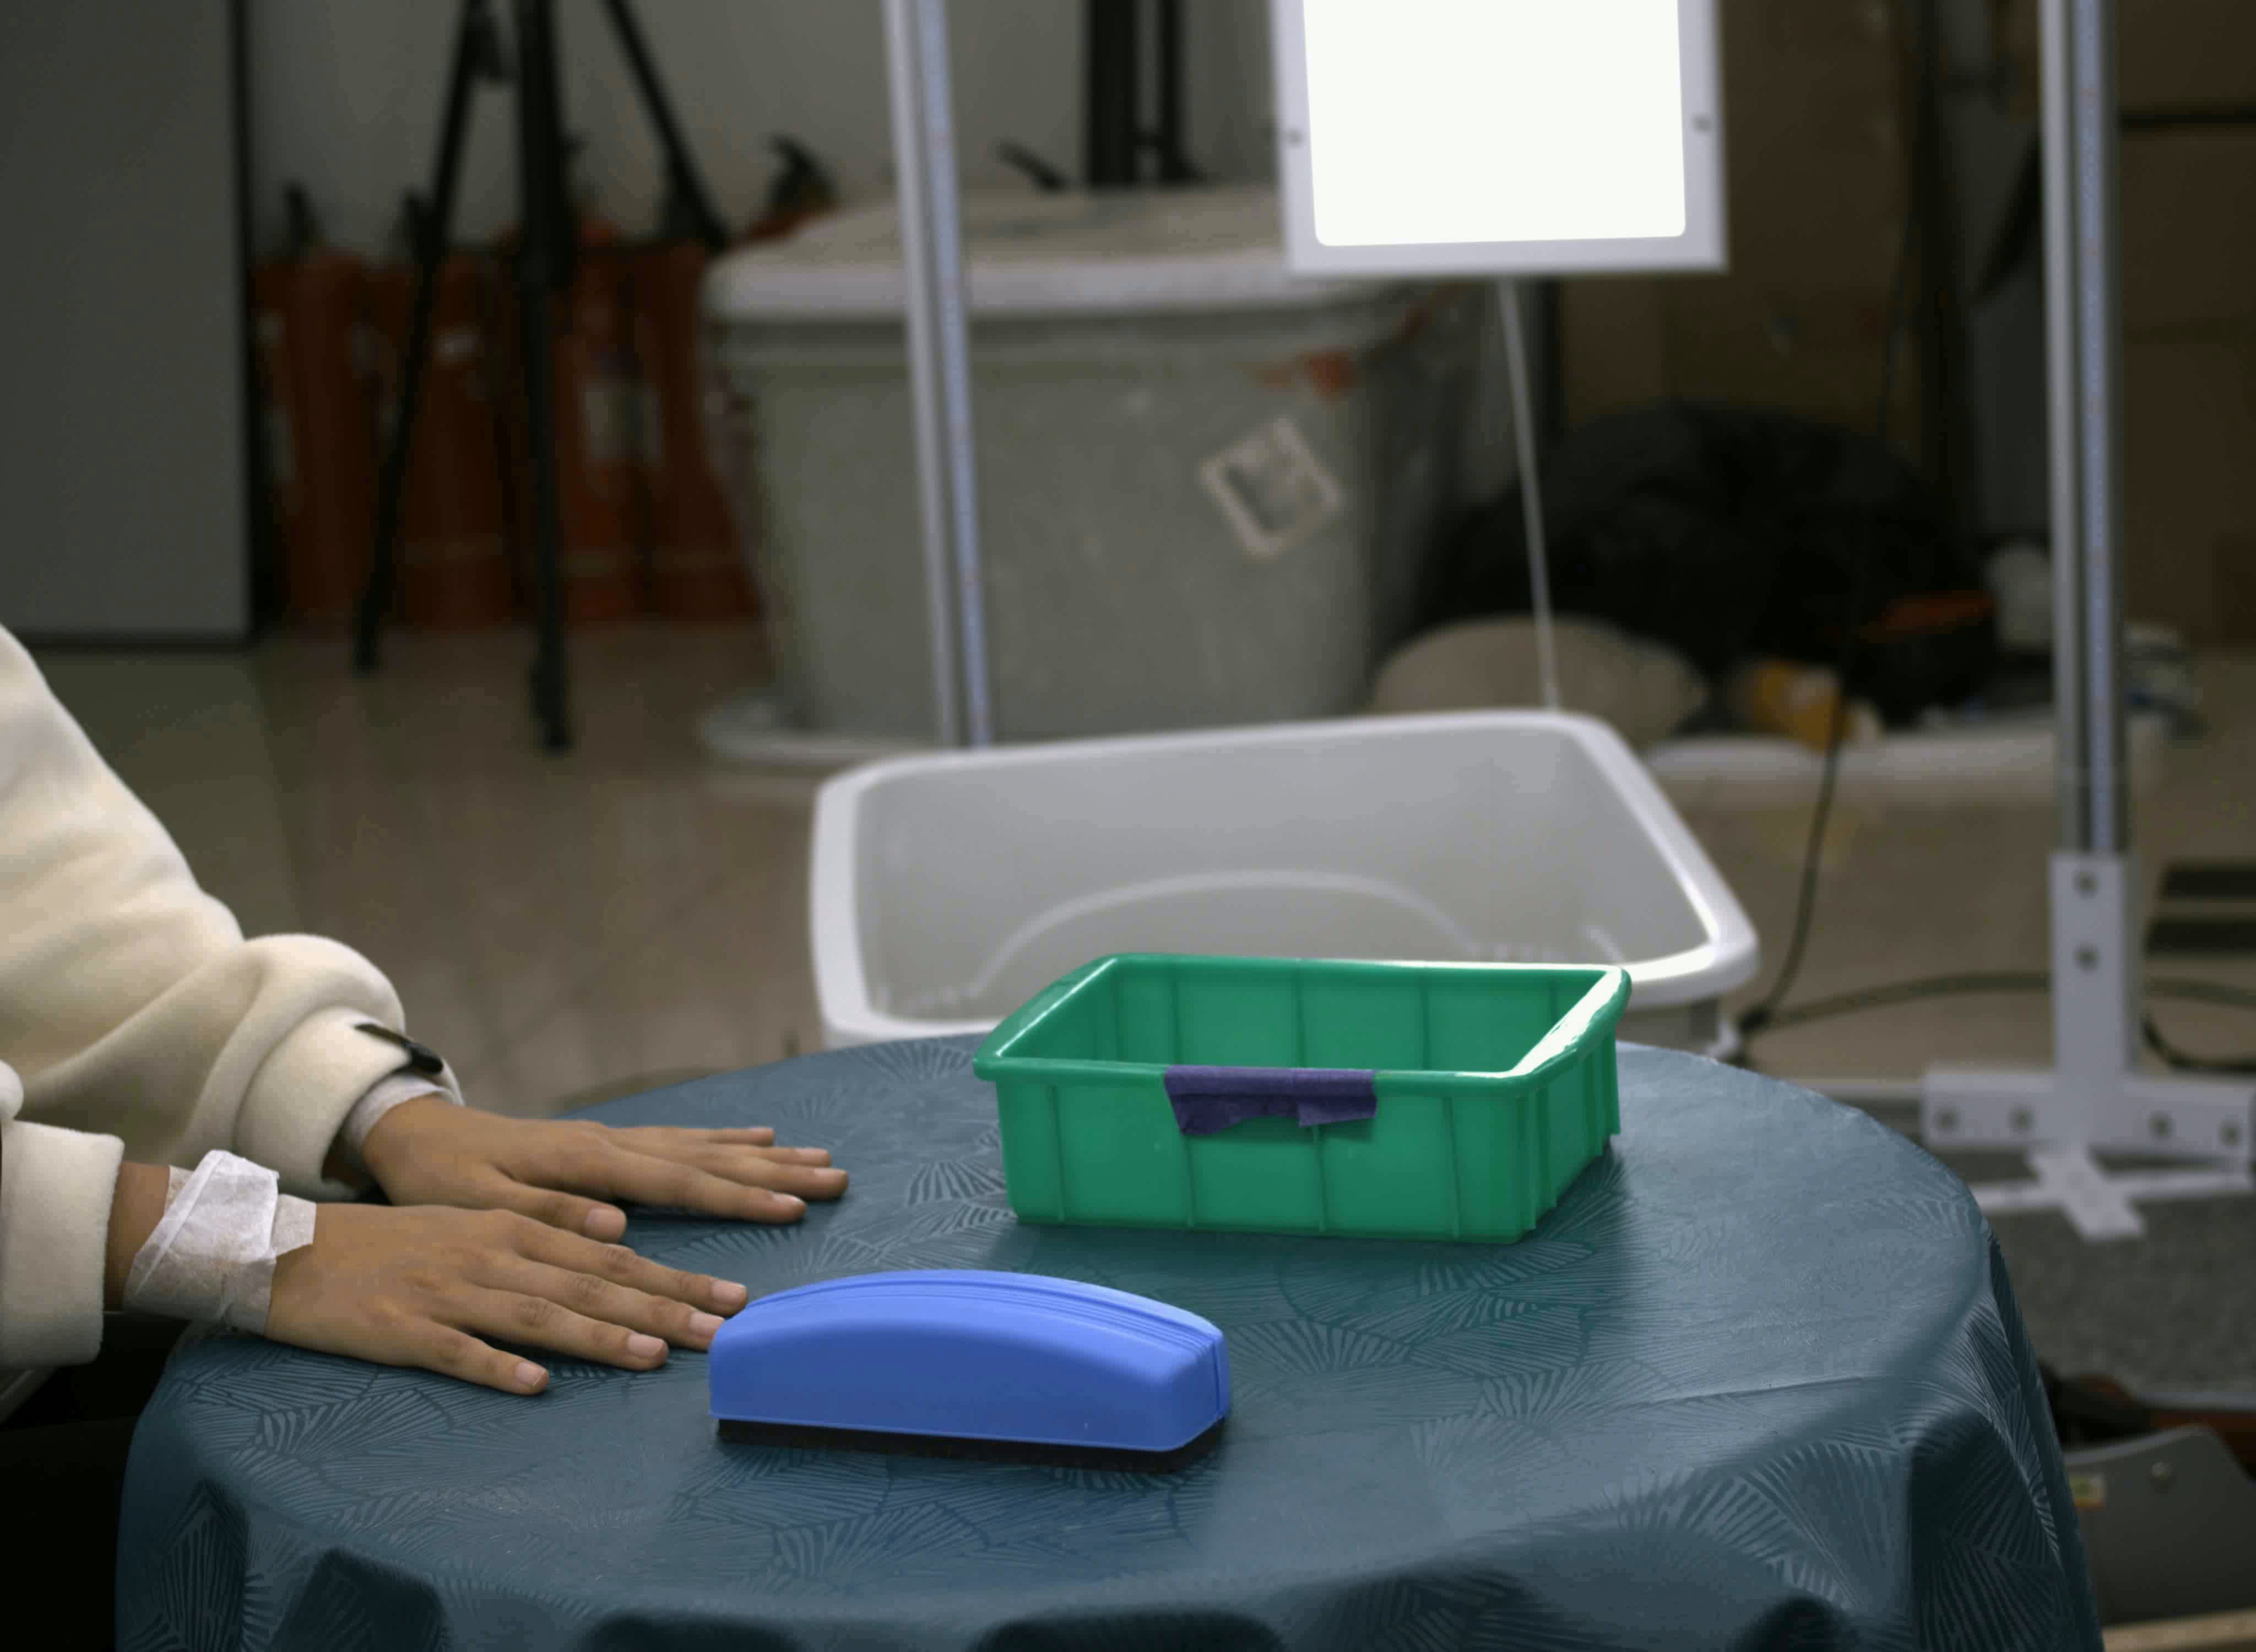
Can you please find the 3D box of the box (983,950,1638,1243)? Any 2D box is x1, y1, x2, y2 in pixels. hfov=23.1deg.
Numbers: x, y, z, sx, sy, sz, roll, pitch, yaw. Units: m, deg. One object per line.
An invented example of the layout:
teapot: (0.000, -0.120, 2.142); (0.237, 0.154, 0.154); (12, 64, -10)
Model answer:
box: (0.066, 0.092, 1.885); (0.213, 0.065, 0.136); (1, 17, 21)

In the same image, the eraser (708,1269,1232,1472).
eraser: (-0.049, 0.162, 1.673); (0.165, 0.048, 0.053); (1, 15, 24)
